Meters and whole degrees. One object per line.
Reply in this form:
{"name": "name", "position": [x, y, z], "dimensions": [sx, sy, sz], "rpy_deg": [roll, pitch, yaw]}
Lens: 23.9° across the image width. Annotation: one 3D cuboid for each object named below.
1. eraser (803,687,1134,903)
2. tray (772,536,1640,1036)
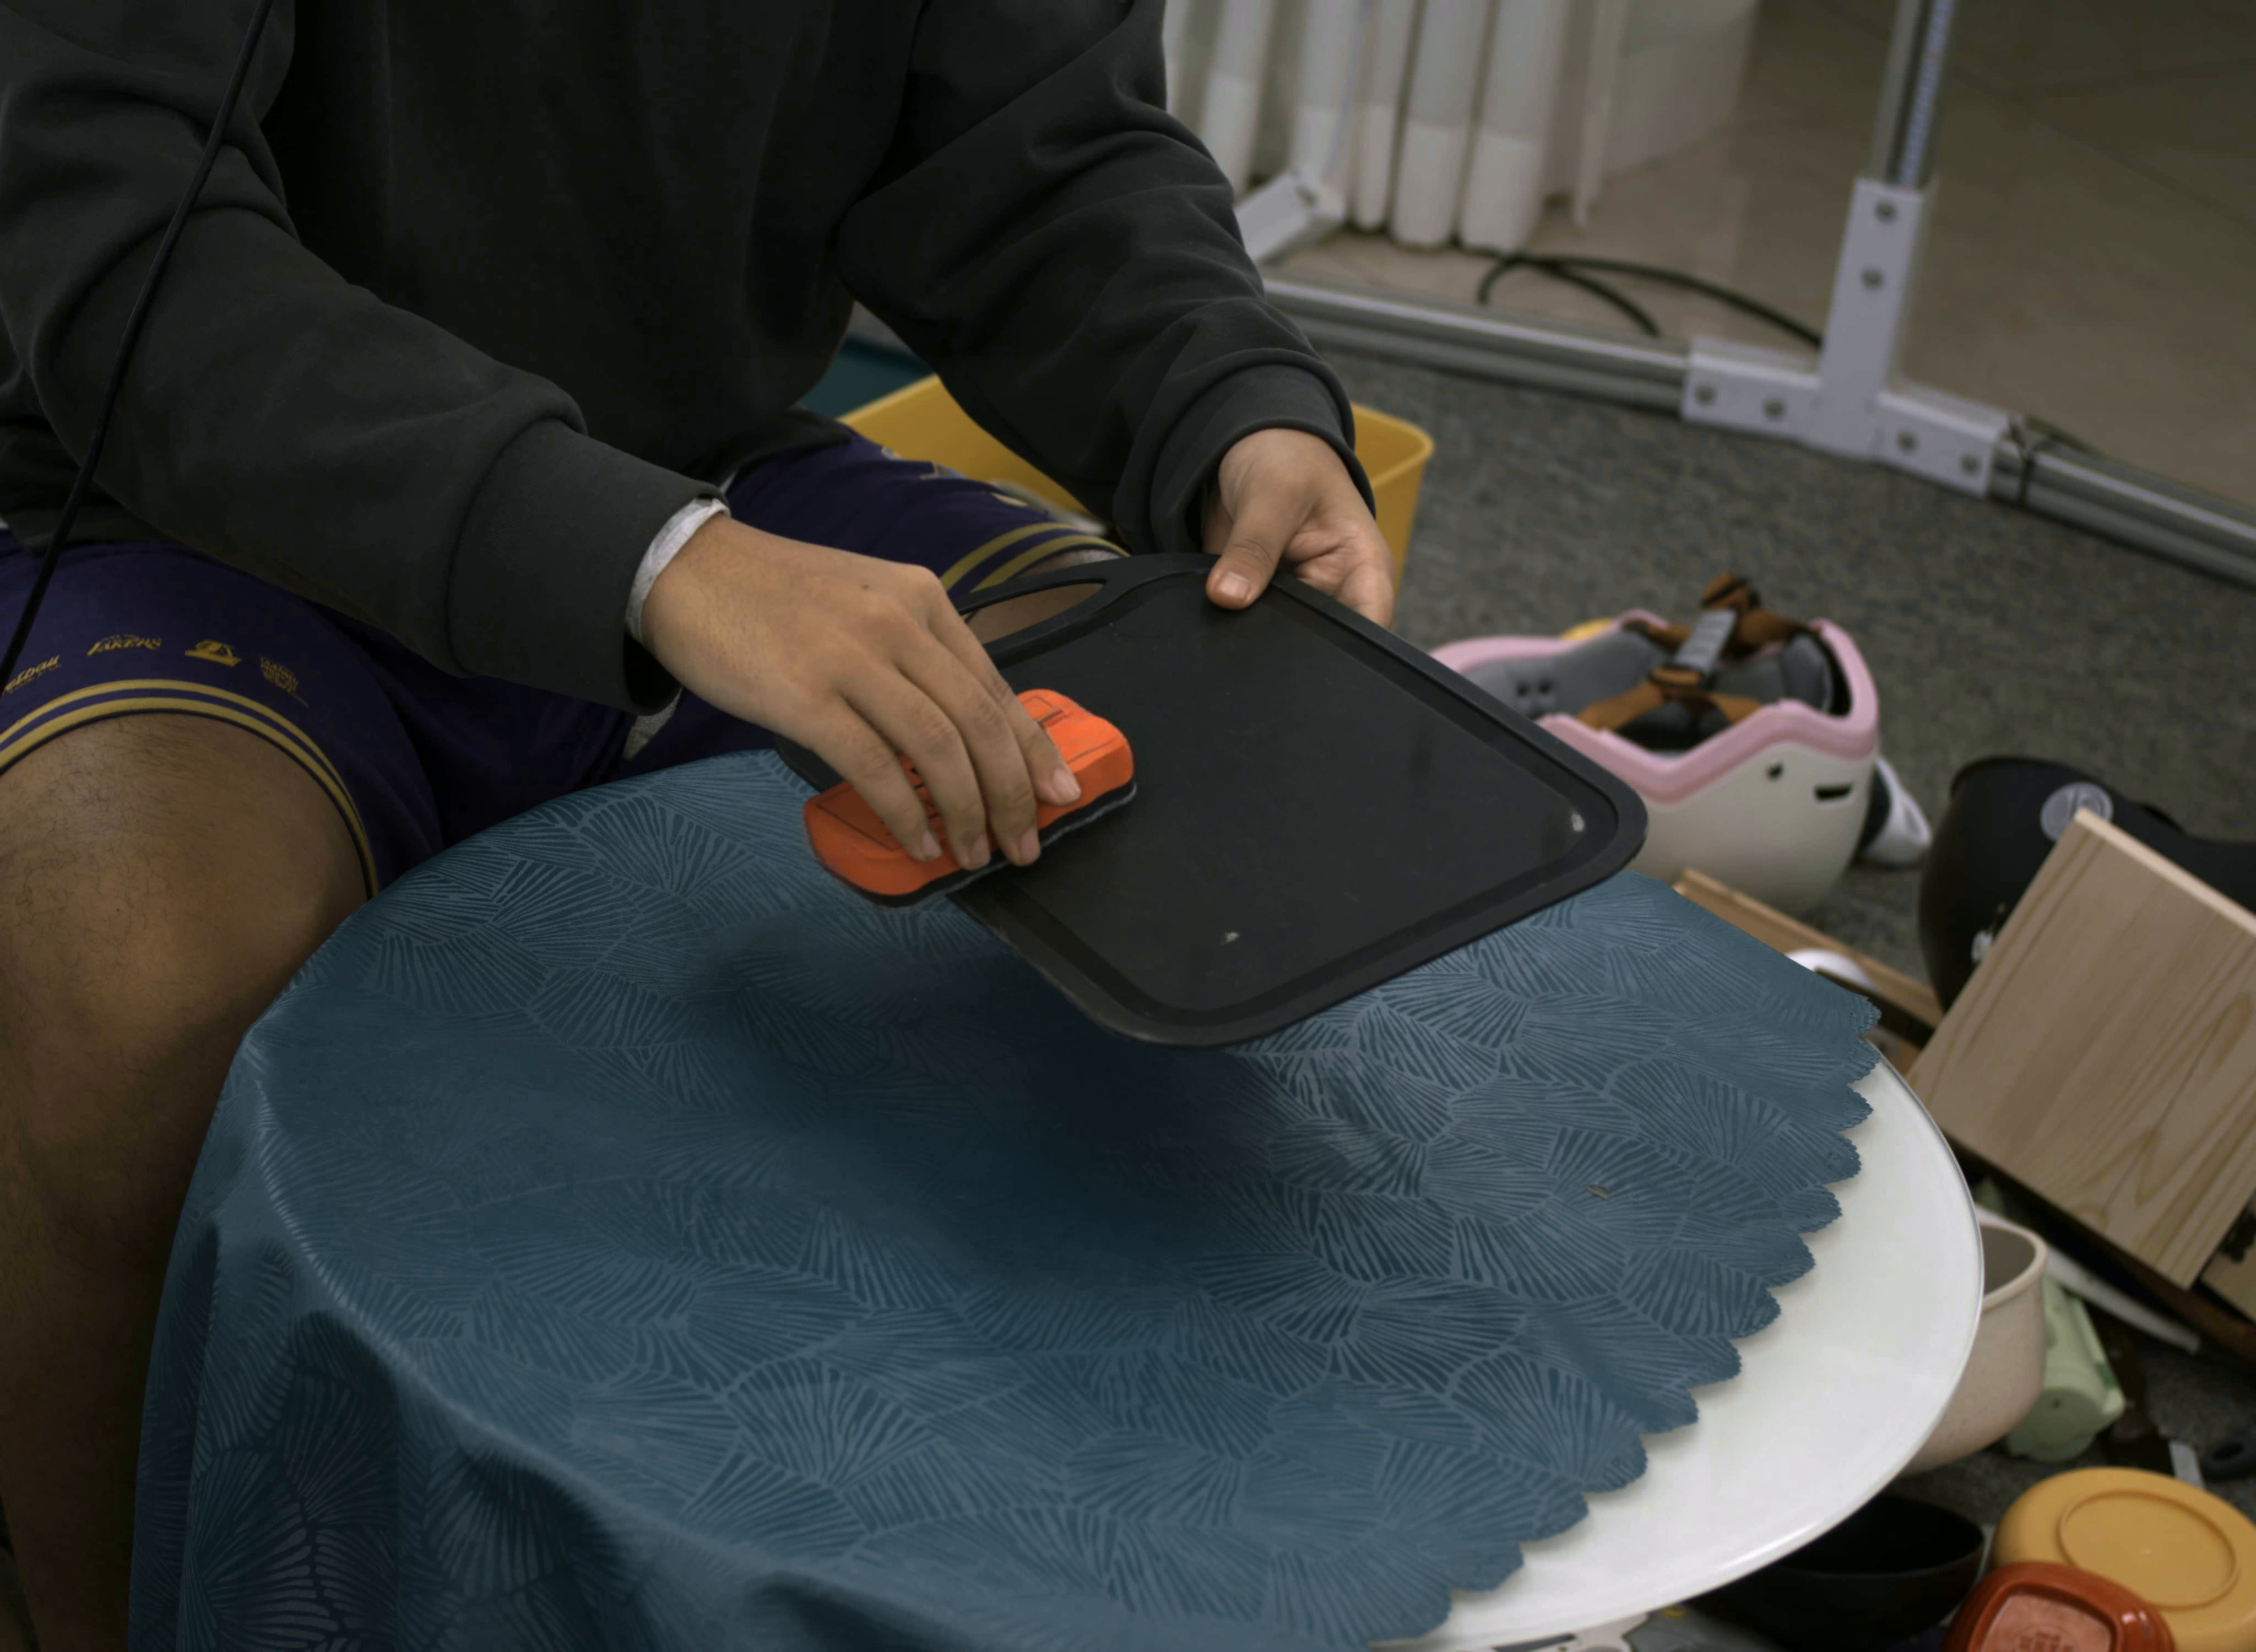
{"name": "eraser", "position": [-0.054, -0.011, 1.812], "dimensions": [0.107, 0.023, 0.059], "rpy_deg": [-26, 35, -29]}
{"name": "tray", "position": [0.016, -0.024, 1.841], "dimensions": [0.210, 0.010, 0.328], "rpy_deg": [-23, 33, -22]}
